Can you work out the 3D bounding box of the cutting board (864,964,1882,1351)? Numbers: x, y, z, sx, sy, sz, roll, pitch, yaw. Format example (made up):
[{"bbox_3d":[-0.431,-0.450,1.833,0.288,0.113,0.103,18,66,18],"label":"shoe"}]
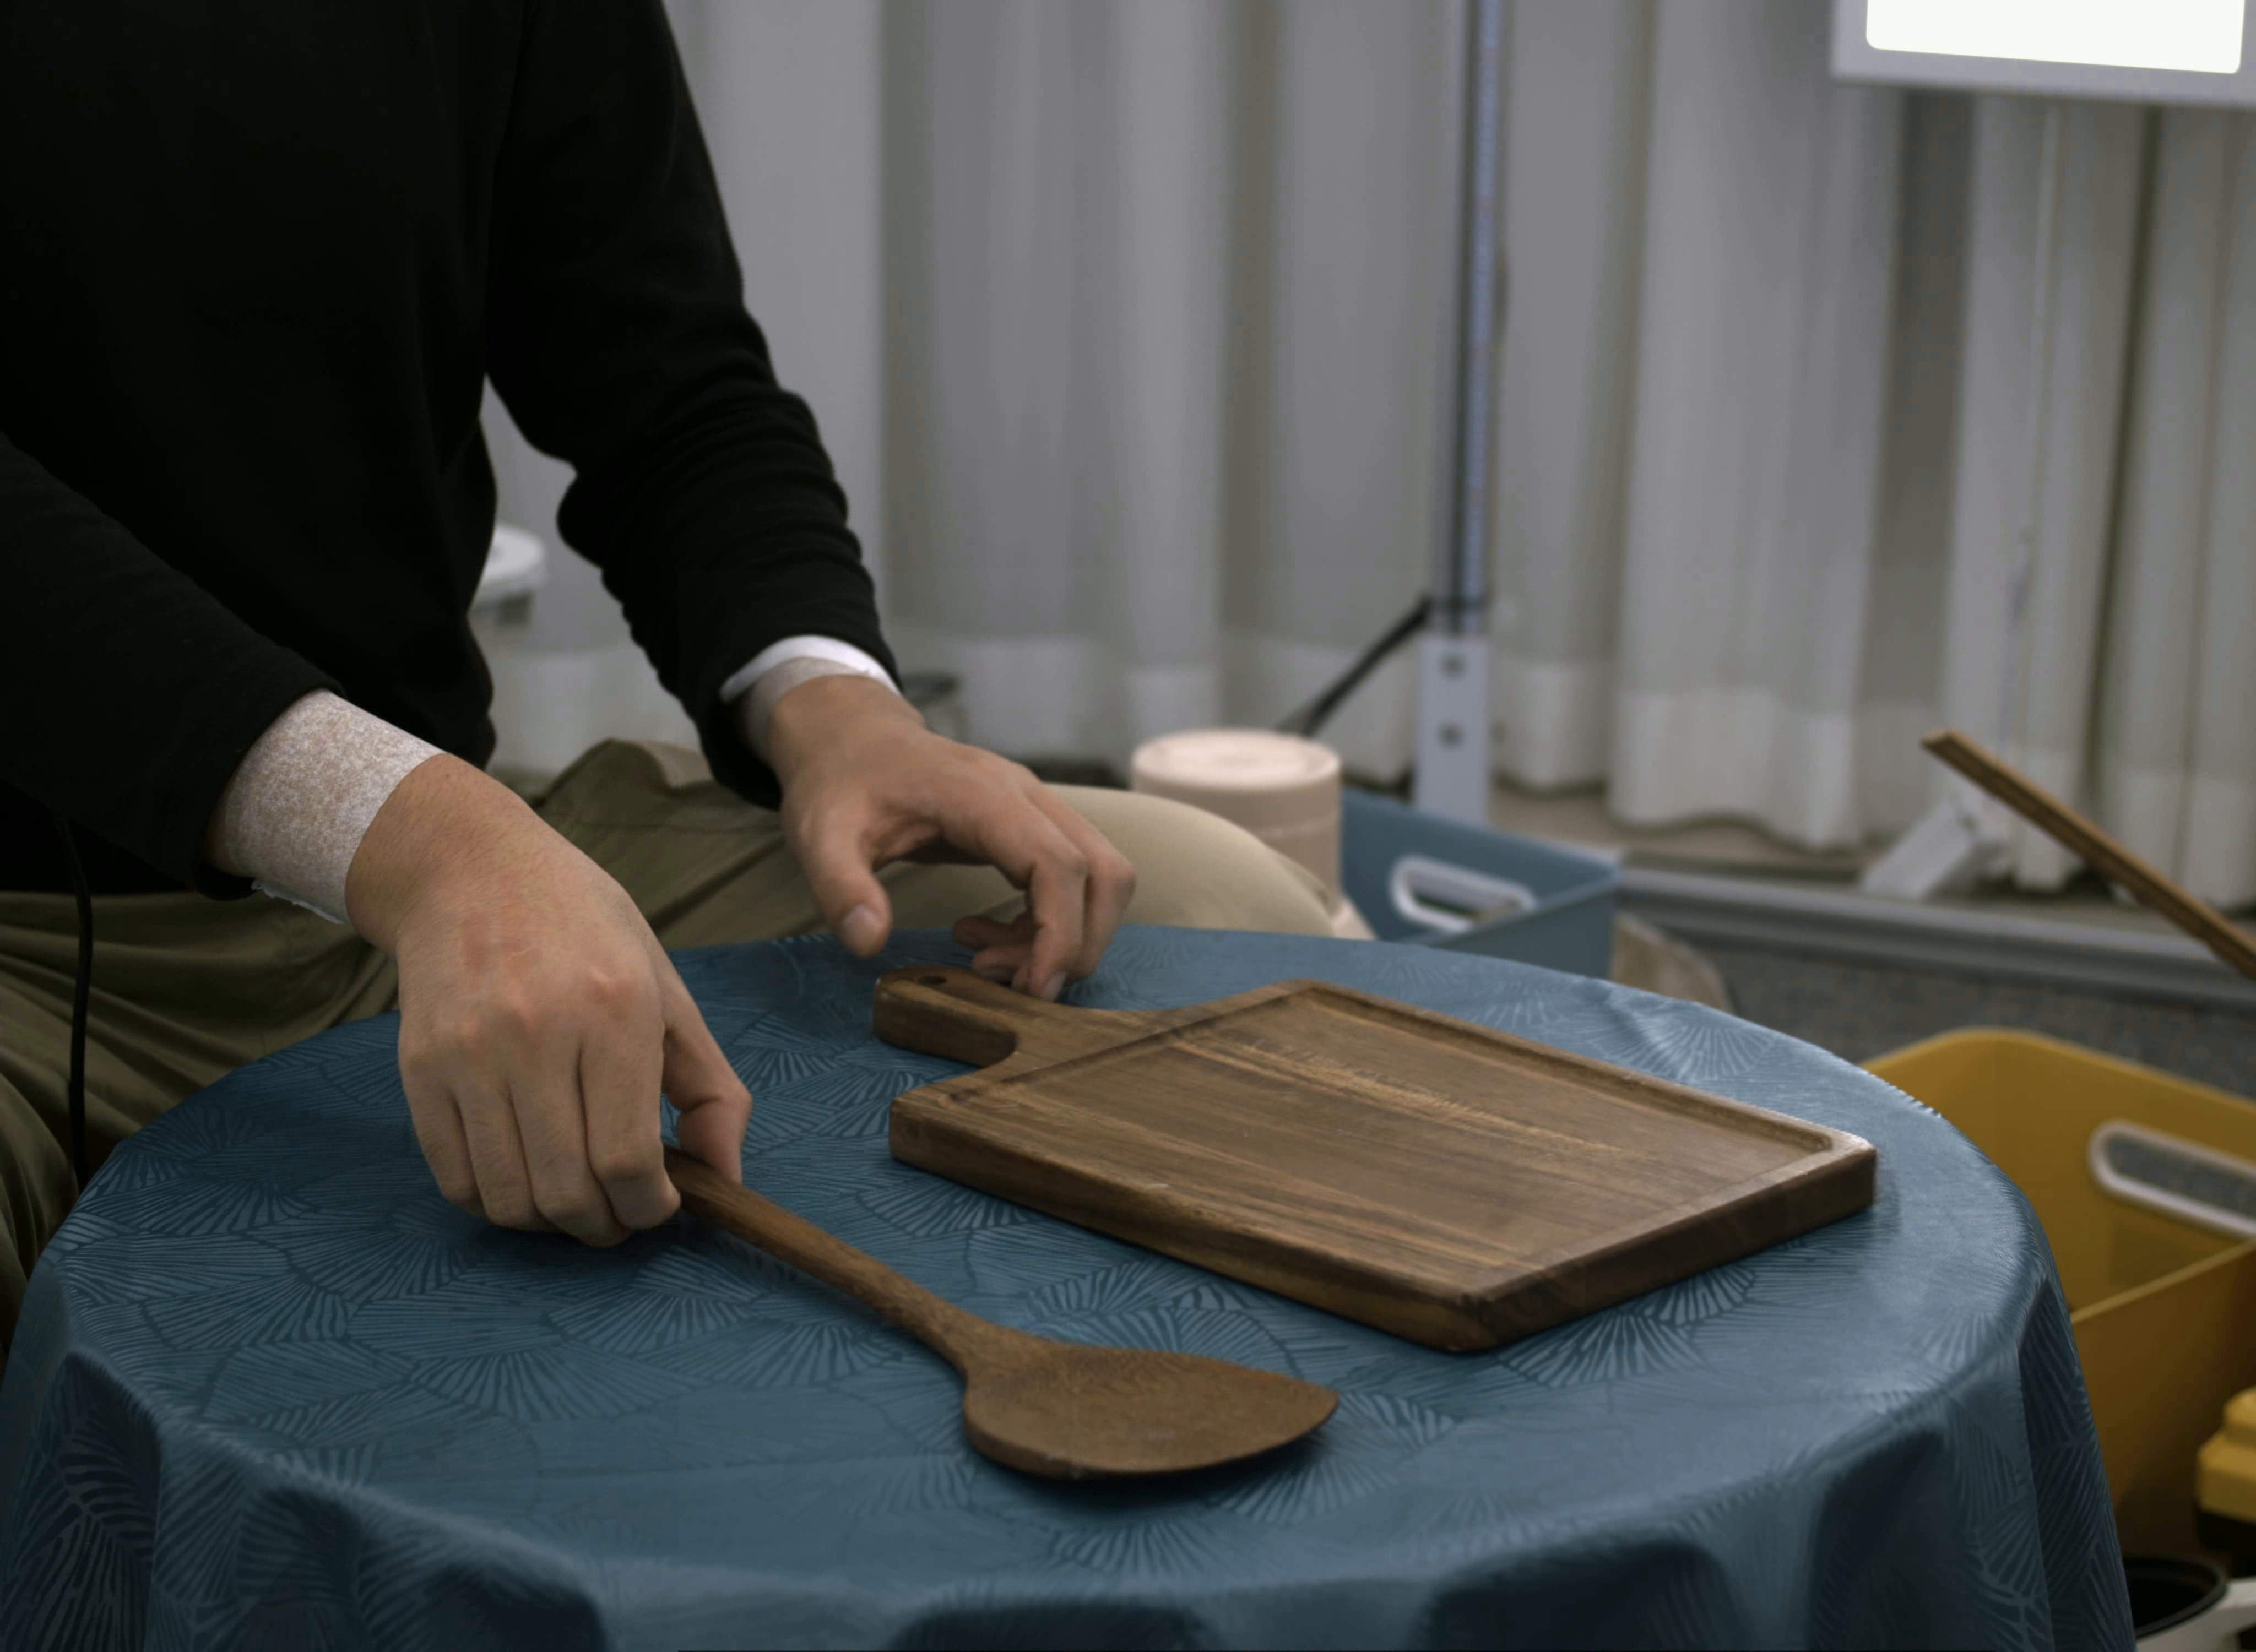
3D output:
[{"bbox_3d":[0.043,0.090,1.663,0.347,0.023,0.202,15,21,42],"label":"cutting board"}]

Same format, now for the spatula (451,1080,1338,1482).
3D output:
[{"bbox_3d":[-0.090,0.126,1.531,0.096,0.016,0.380,-11,21,-38],"label":"spatula"}]
